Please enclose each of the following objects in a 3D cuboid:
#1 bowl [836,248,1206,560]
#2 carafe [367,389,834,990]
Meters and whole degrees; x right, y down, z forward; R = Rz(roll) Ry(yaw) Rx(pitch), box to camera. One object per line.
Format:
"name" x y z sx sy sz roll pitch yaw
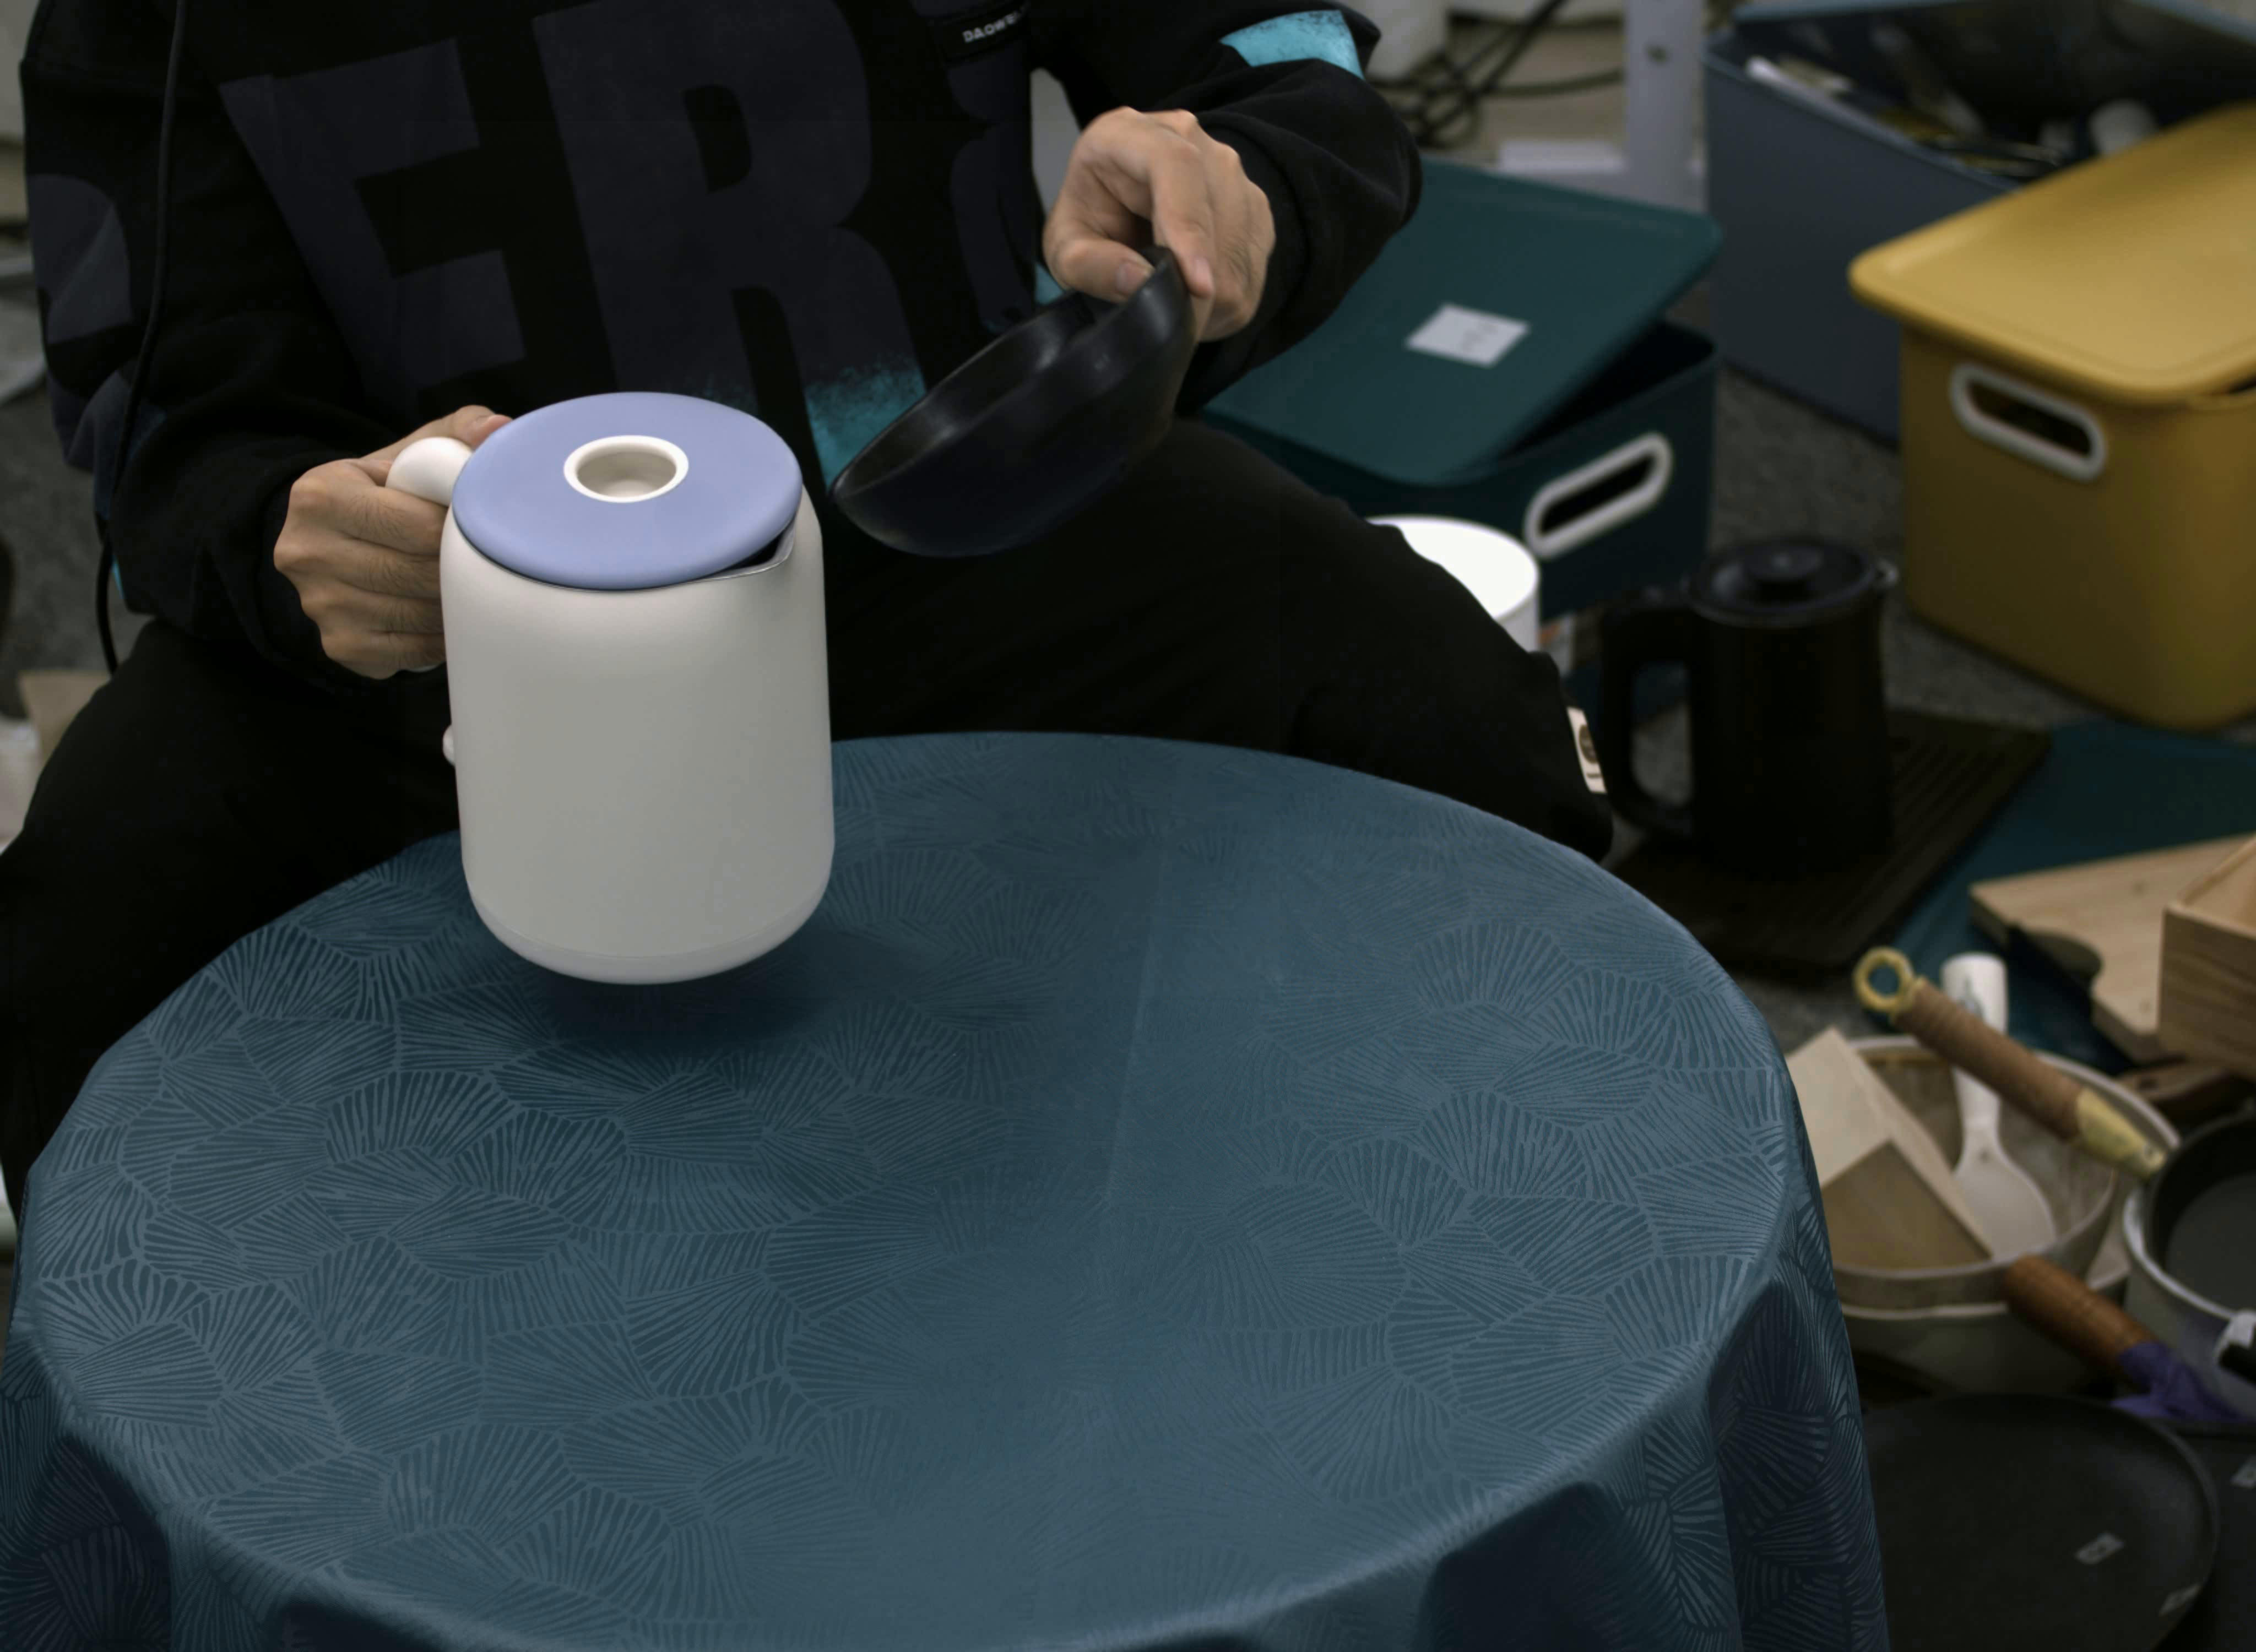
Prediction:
"bowl" -0.026 -0.128 1.833 0.139 0.049 0.141 -35 10 7
"carafe" -0.189 -0.055 1.950 0.190 0.180 0.134 20 38 31
